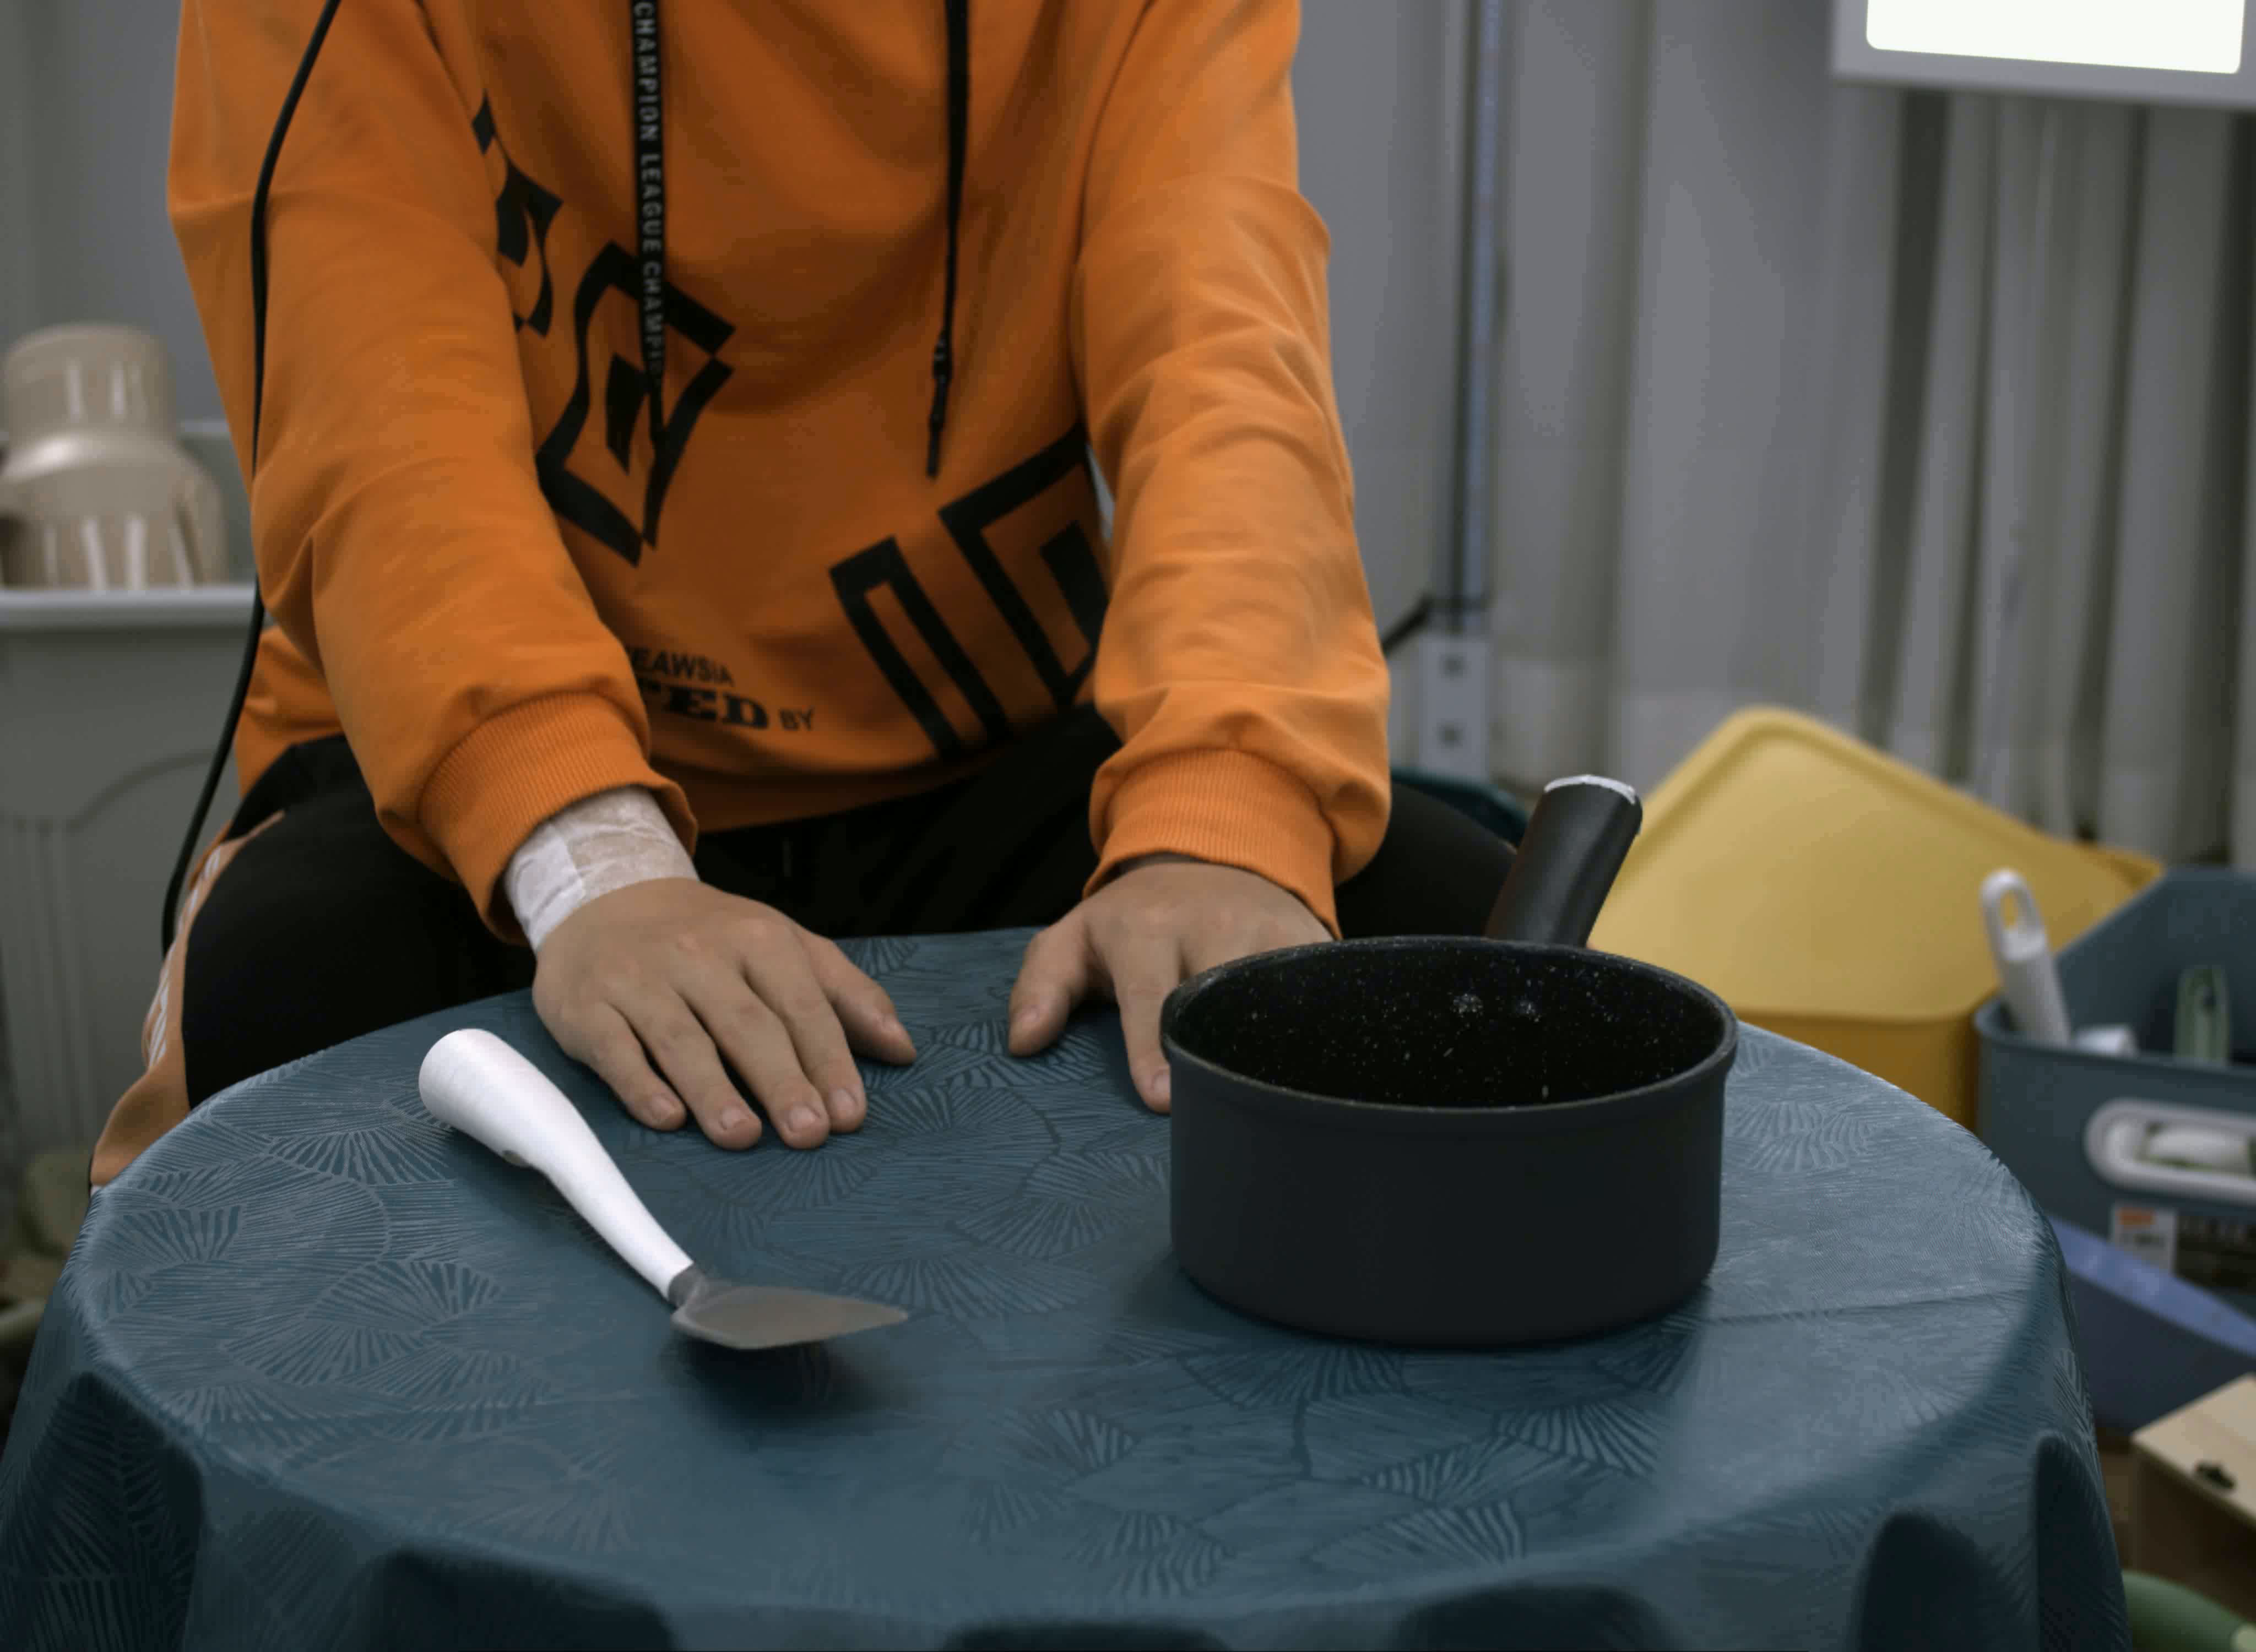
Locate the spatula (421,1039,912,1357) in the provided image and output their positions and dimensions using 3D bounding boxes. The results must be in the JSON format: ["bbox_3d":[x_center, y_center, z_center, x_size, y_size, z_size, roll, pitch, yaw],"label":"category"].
[{"bbox_3d":[-0.144,0.115,1.550,0.059,0.032,0.284,-4,15,-27],"label":"spatula"}]

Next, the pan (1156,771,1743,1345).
[{"bbox_3d":[0.118,0.067,1.627,0.170,0.087,0.328,6,18,16],"label":"pan"}]
